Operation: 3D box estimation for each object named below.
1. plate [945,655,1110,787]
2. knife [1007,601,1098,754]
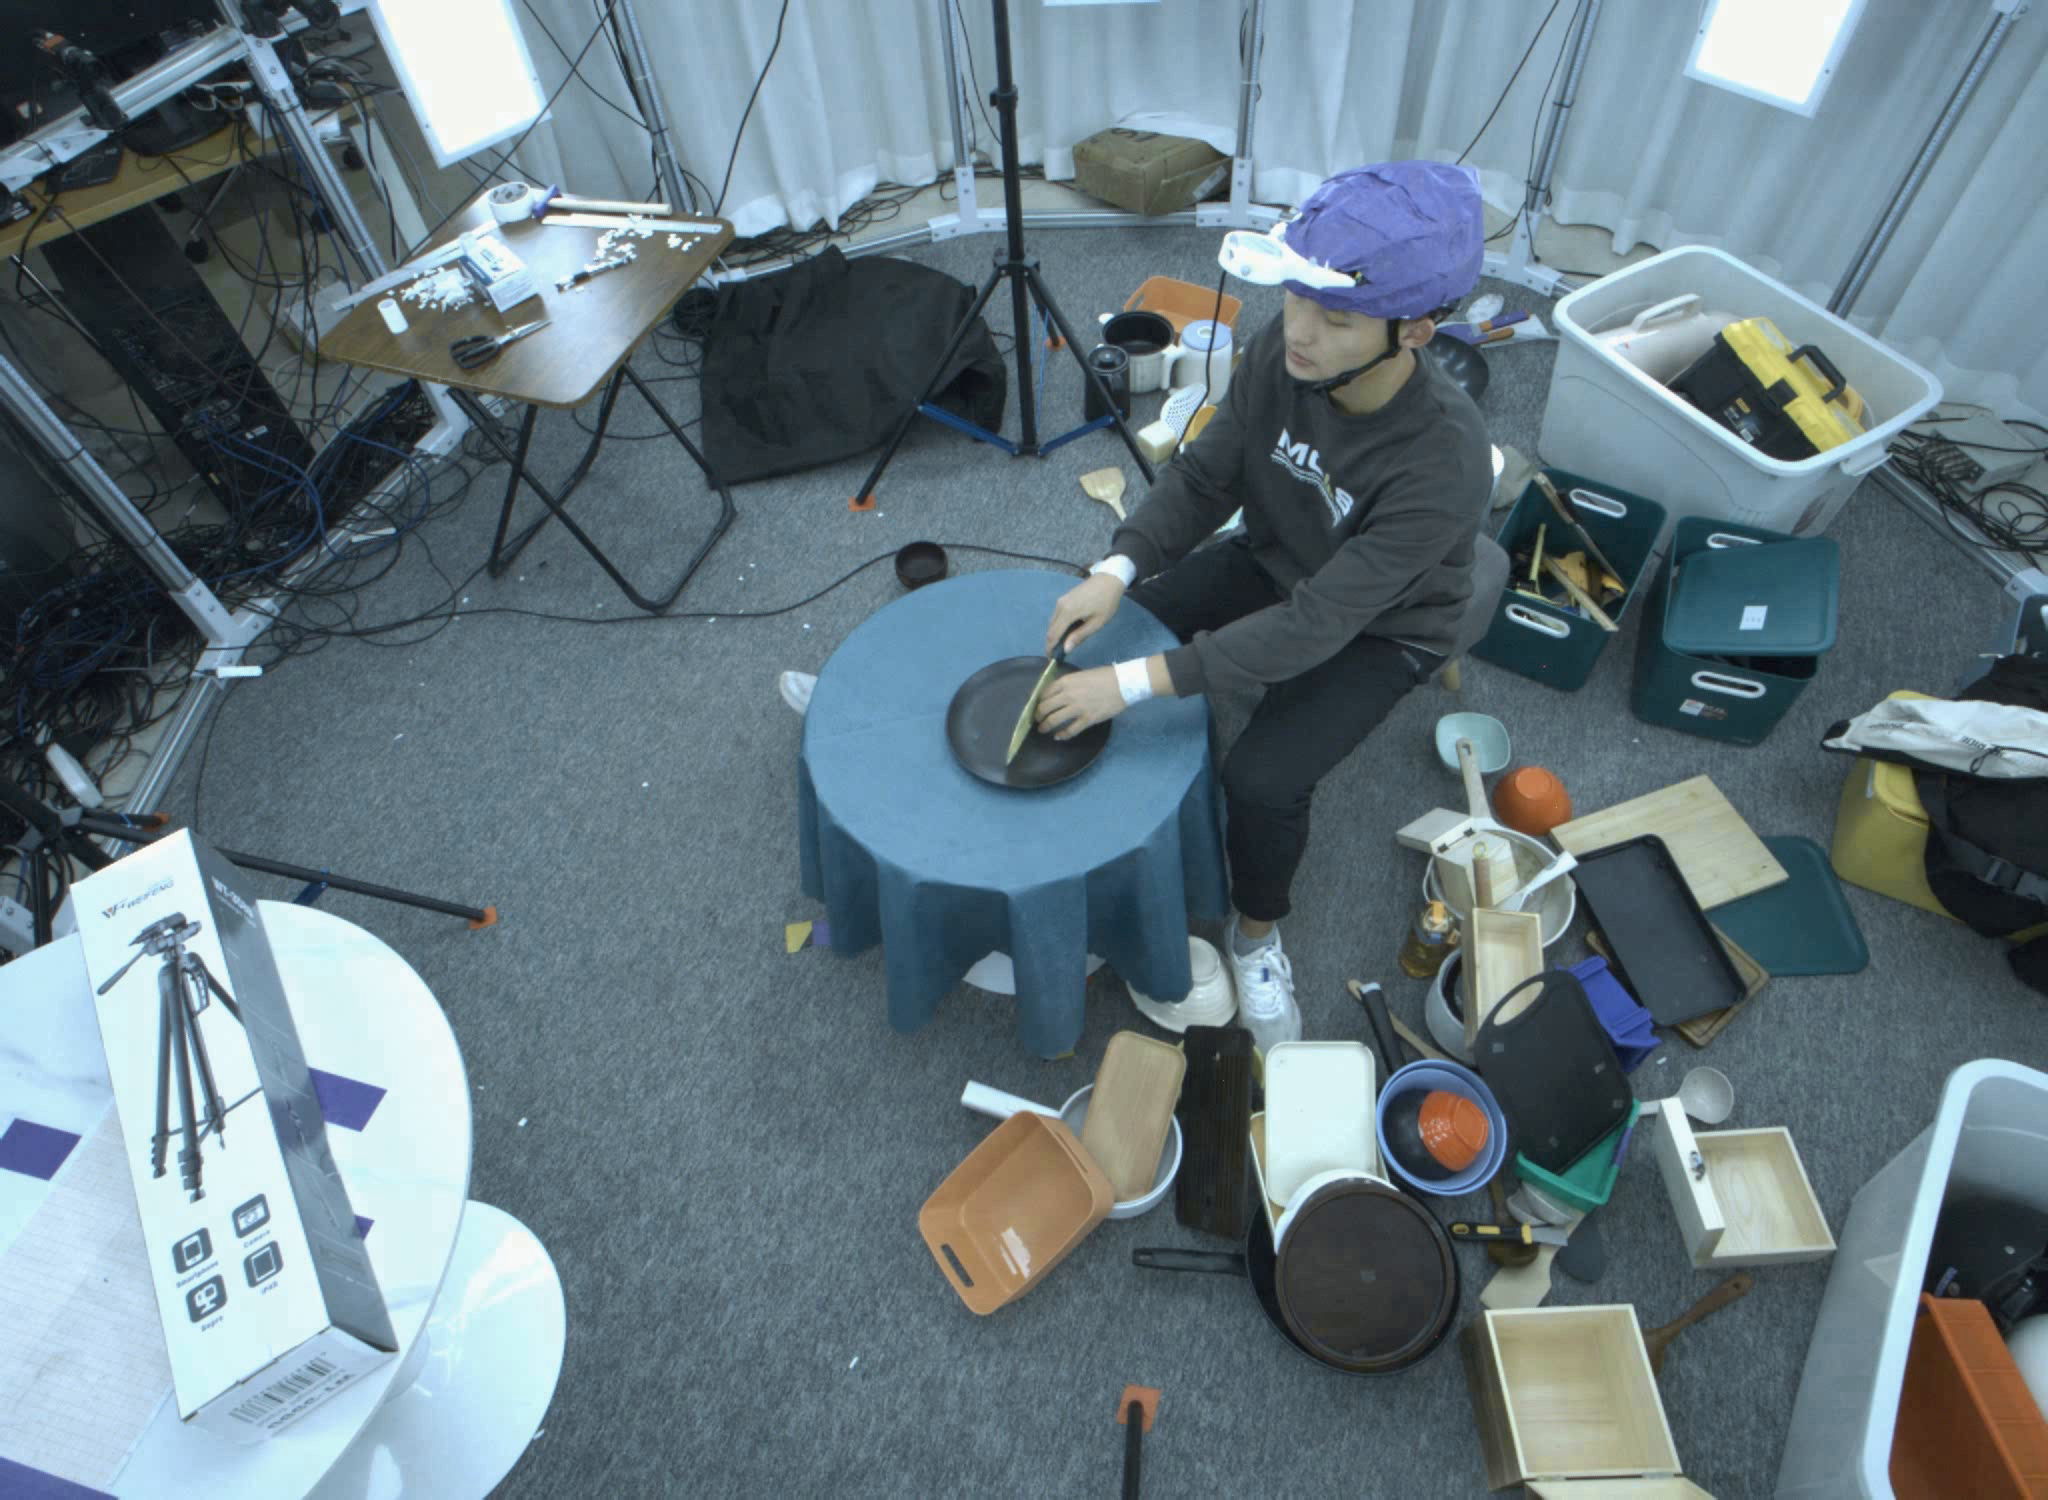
[{"bbox_3d":[0.005,-0.041,1.810,0.244,0.023,0.242,0,55,1],"label":"plate"},{"bbox_3d":[0.040,-0.107,1.810,0.027,0.081,0.290,25,63,11],"label":"knife"}]
